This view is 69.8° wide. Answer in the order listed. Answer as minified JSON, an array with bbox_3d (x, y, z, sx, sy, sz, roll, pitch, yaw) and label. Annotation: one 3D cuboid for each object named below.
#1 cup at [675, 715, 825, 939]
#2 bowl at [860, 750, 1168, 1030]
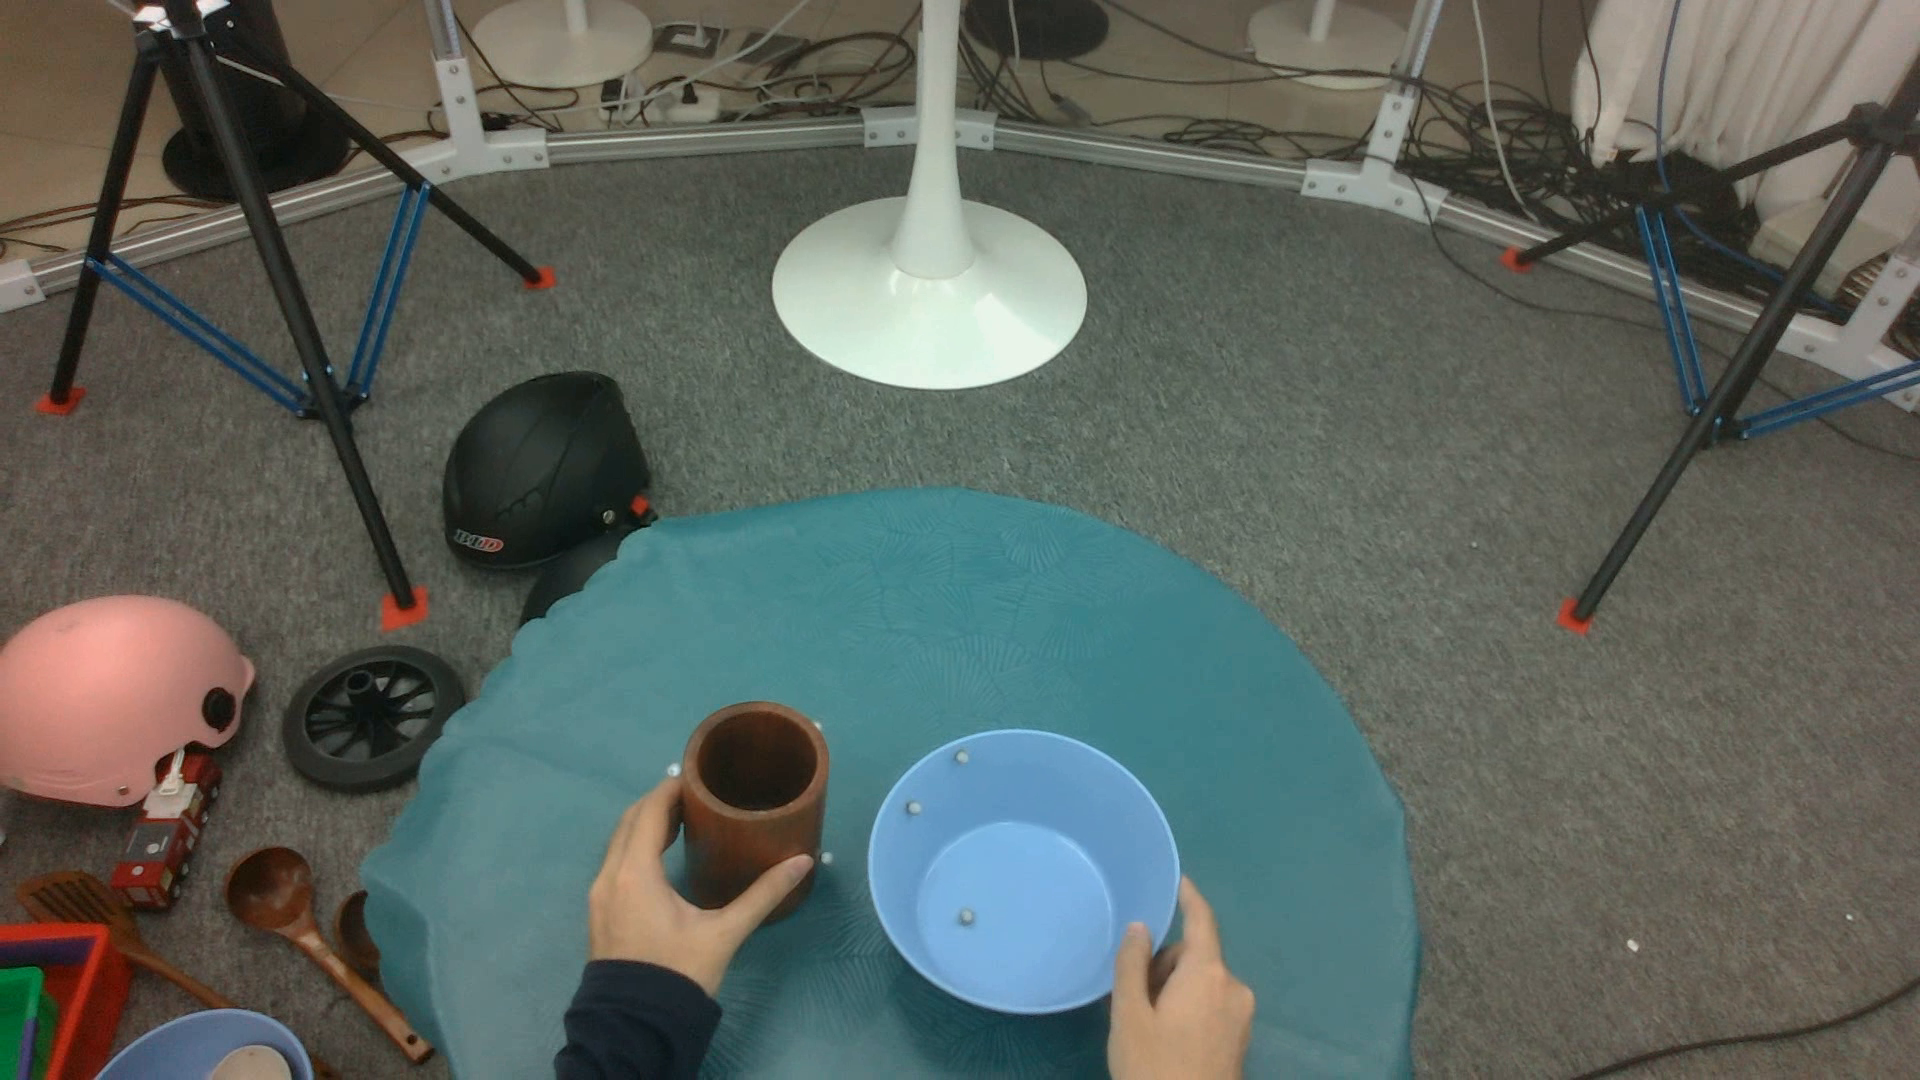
[{"bbox_3d":[-0.122,0.167,0.798,0.088,0.118,0.088,4,47,-4],"label":"cup"},{"bbox_3d":[0.030,0.214,0.806,0.176,0.070,0.177,2,47,-2],"label":"bowl"}]
